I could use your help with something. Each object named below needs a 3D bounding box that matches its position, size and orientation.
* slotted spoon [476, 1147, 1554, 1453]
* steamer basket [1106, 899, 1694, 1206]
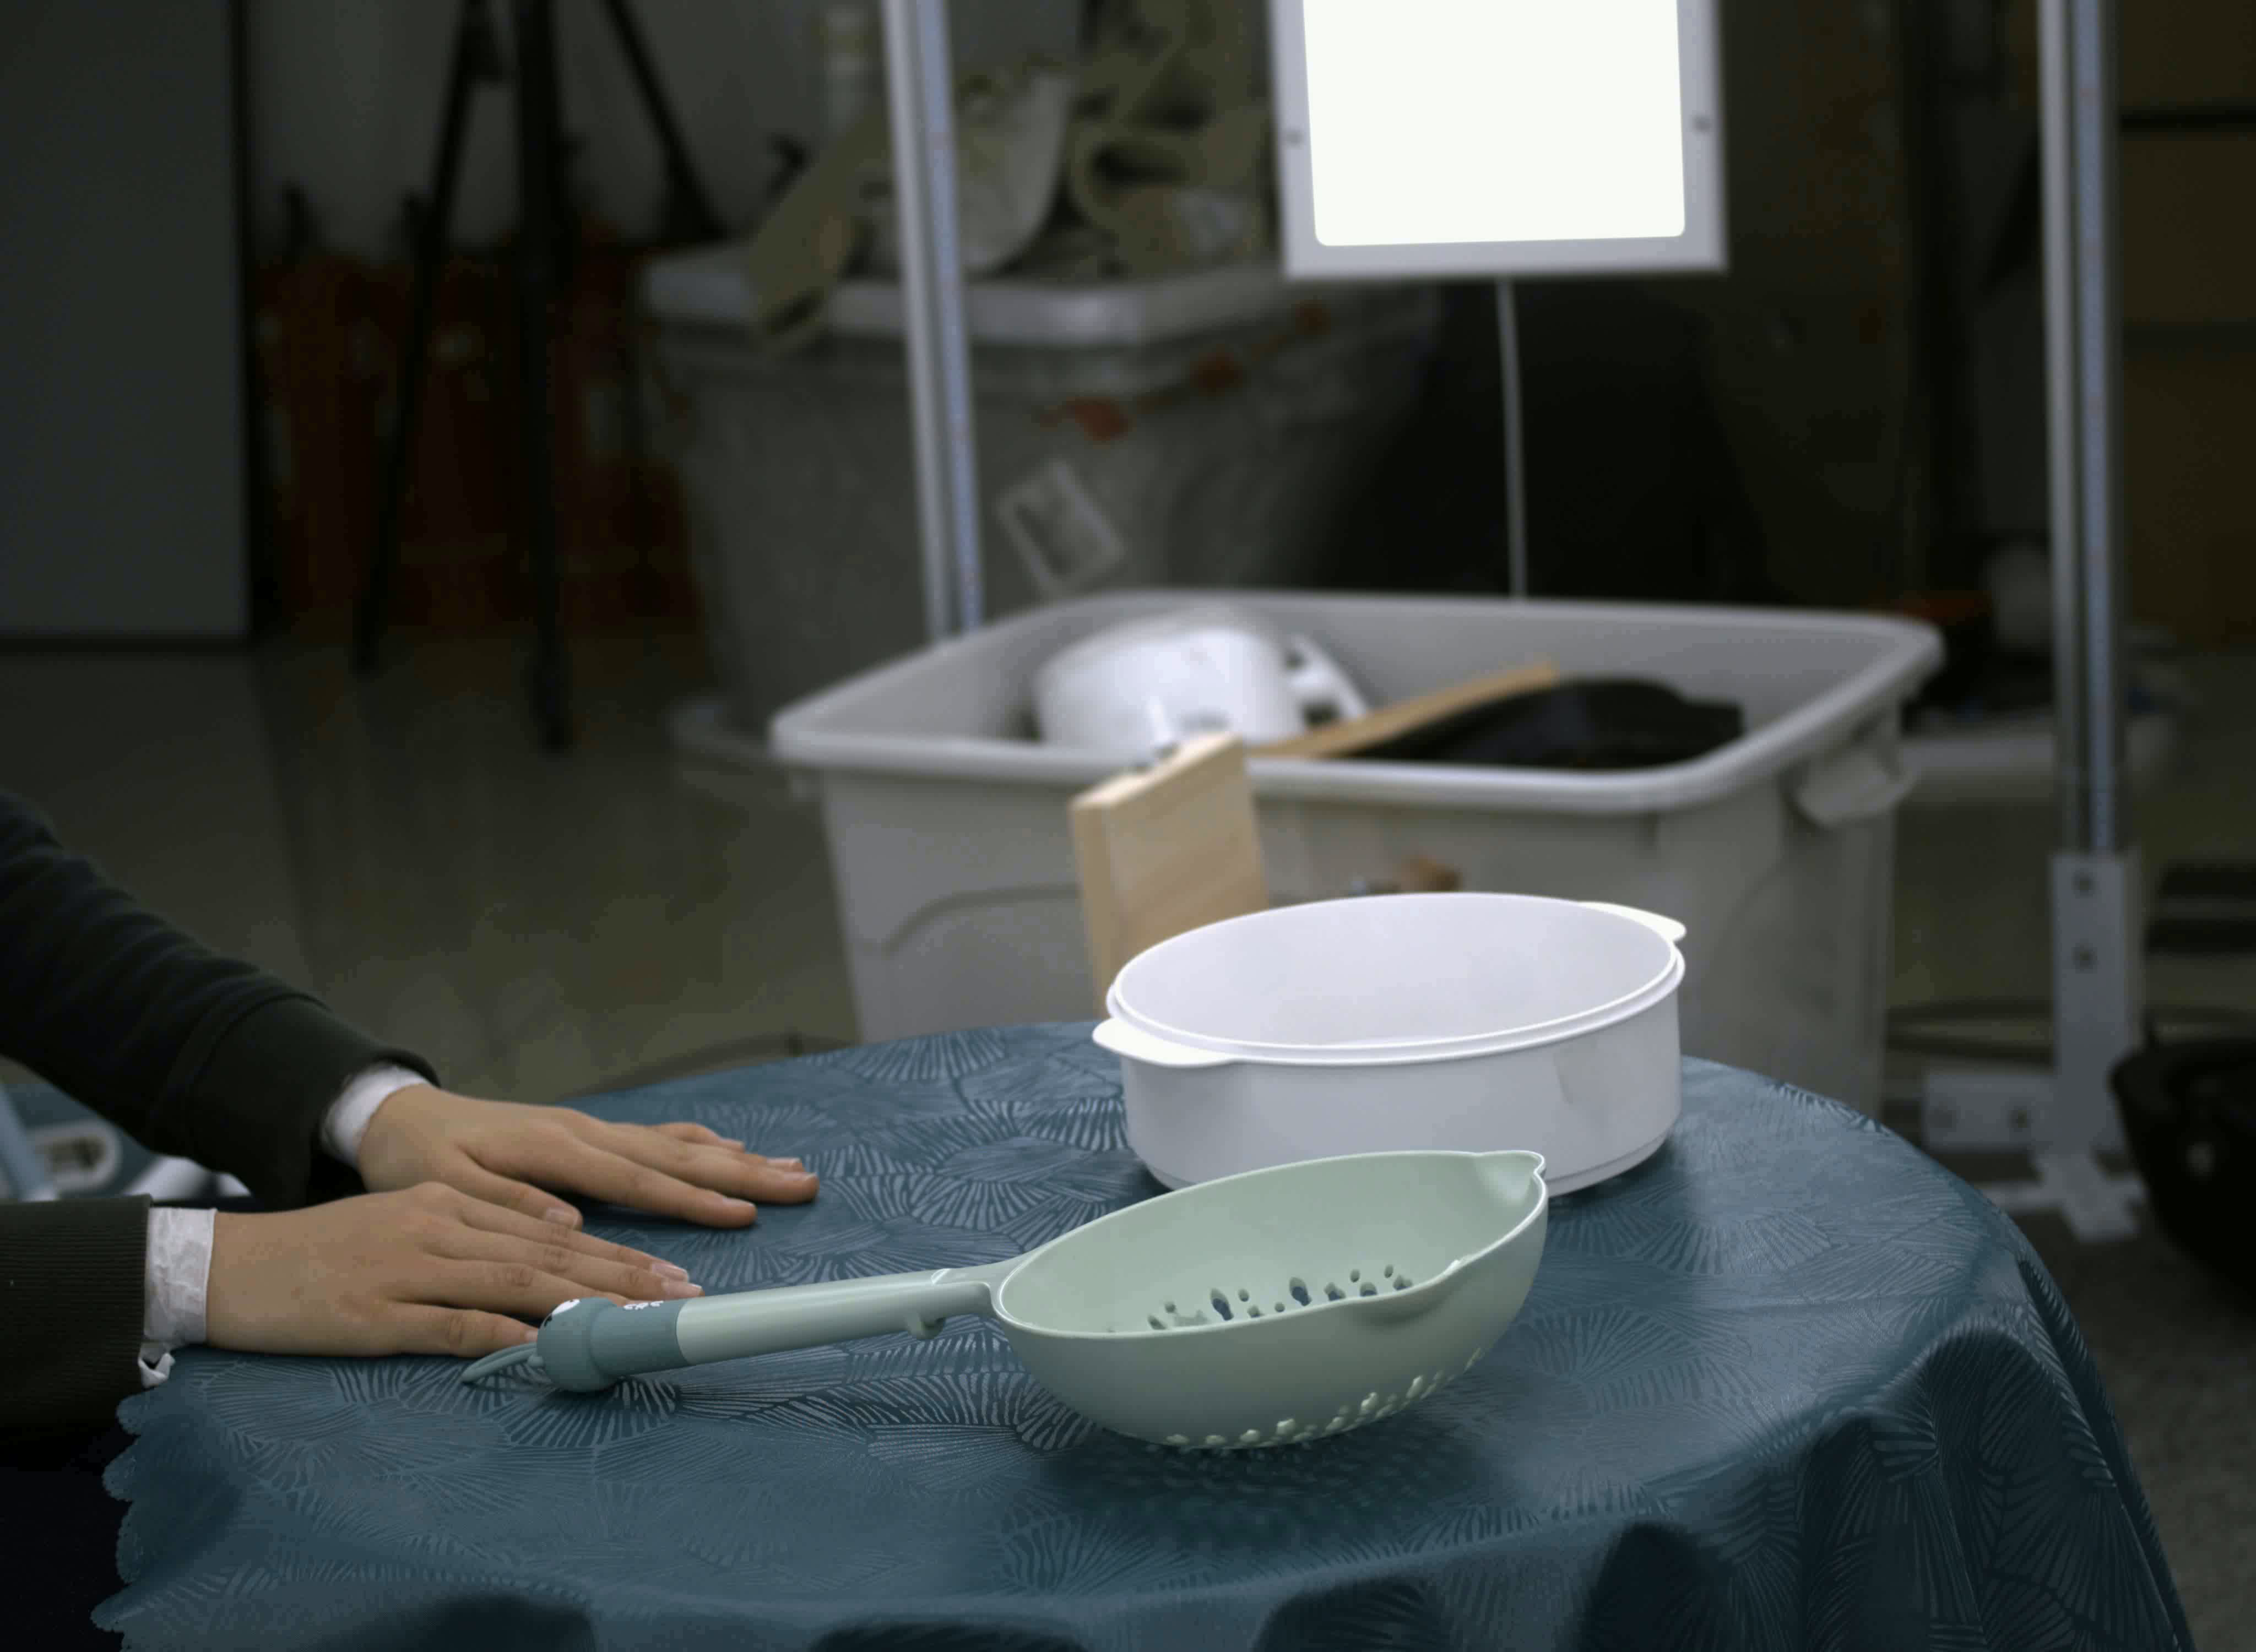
[{"bbox_3d":[-0.043,0.148,1.690,0.364,0.075,0.166,1,14,22],"label":"slotted spoon"},{"bbox_3d":[0.099,0.082,1.911,0.225,0.069,0.206,-14,15,-32],"label":"steamer basket"}]
